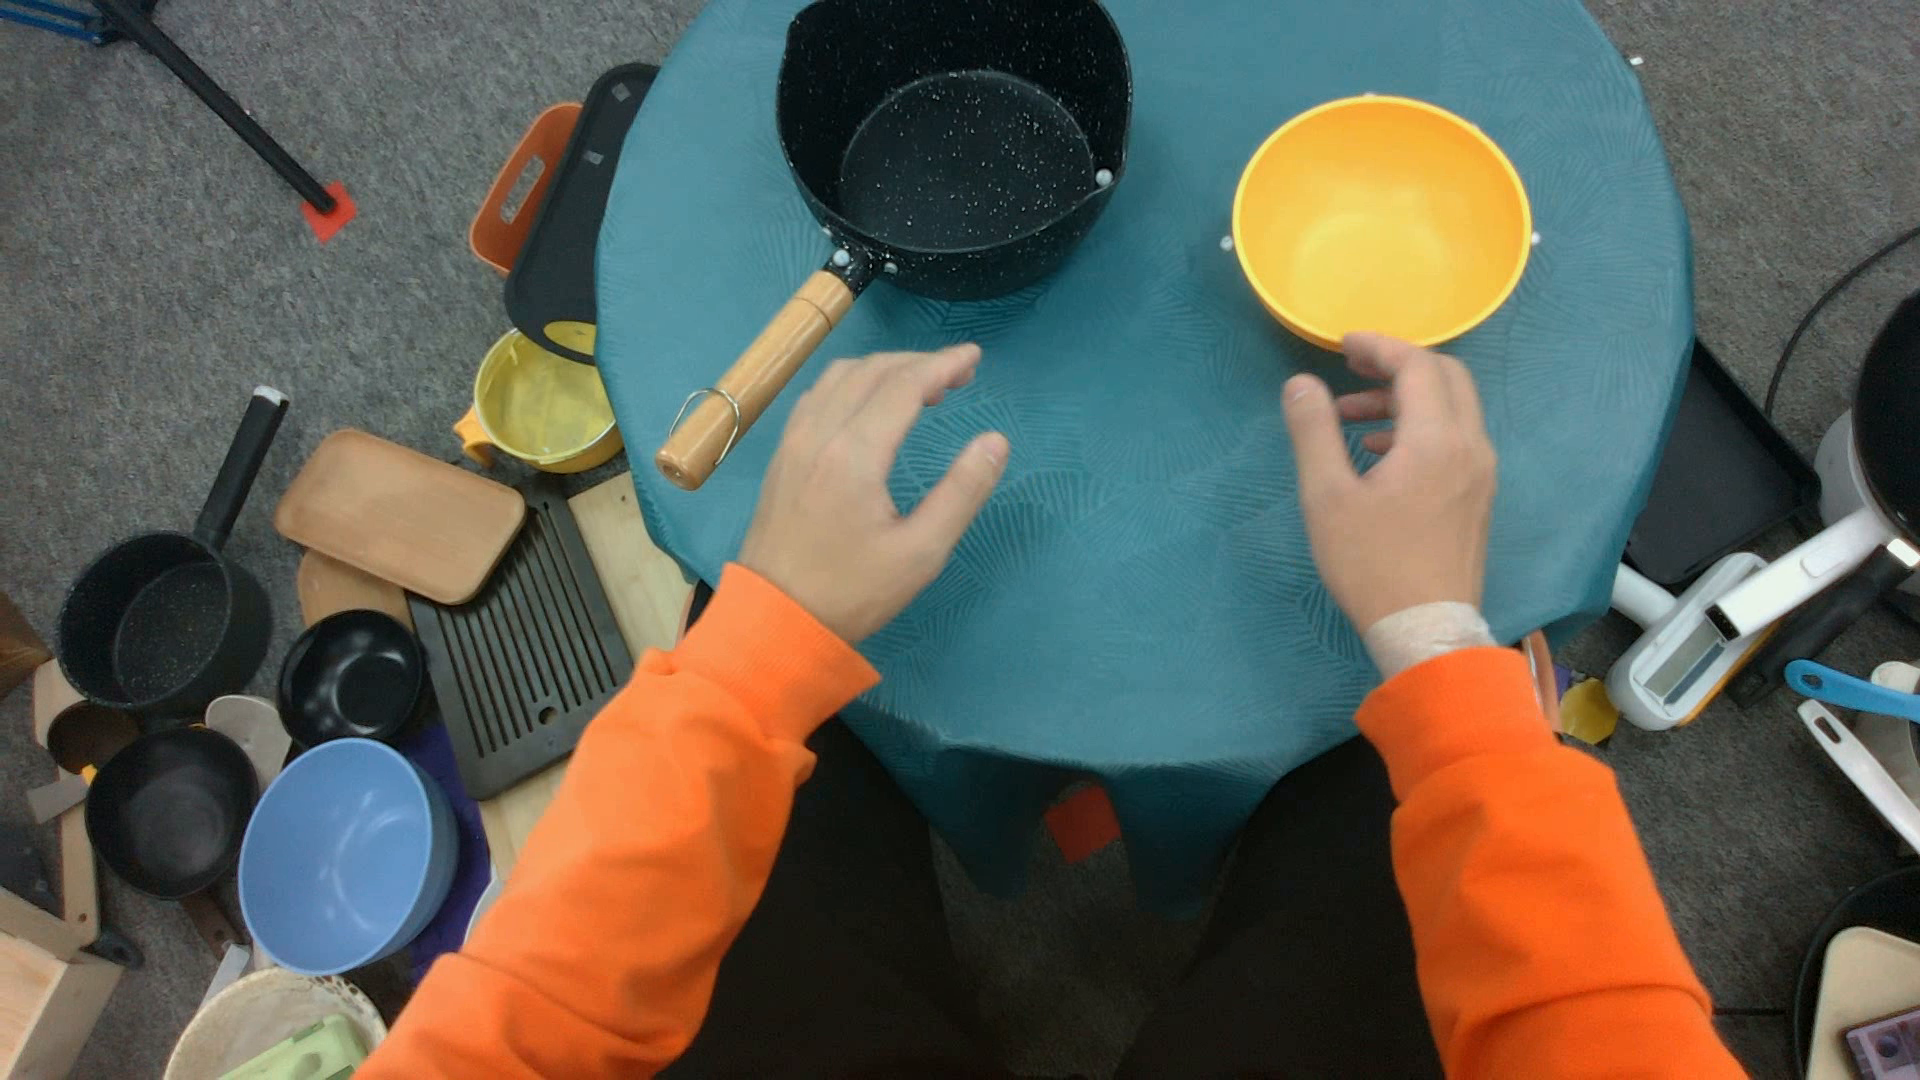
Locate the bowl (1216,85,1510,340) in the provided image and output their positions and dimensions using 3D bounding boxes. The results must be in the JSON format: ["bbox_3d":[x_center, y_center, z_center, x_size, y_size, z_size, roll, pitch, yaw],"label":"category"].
[{"bbox_3d":[0.205,-0.161,0.721,0.145,0.060,0.145,-2,72,5],"label":"bowl"}]

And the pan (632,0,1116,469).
[{"bbox_3d":[-0.050,-0.162,0.716,0.207,0.108,0.343,28,75,11],"label":"pan"}]
